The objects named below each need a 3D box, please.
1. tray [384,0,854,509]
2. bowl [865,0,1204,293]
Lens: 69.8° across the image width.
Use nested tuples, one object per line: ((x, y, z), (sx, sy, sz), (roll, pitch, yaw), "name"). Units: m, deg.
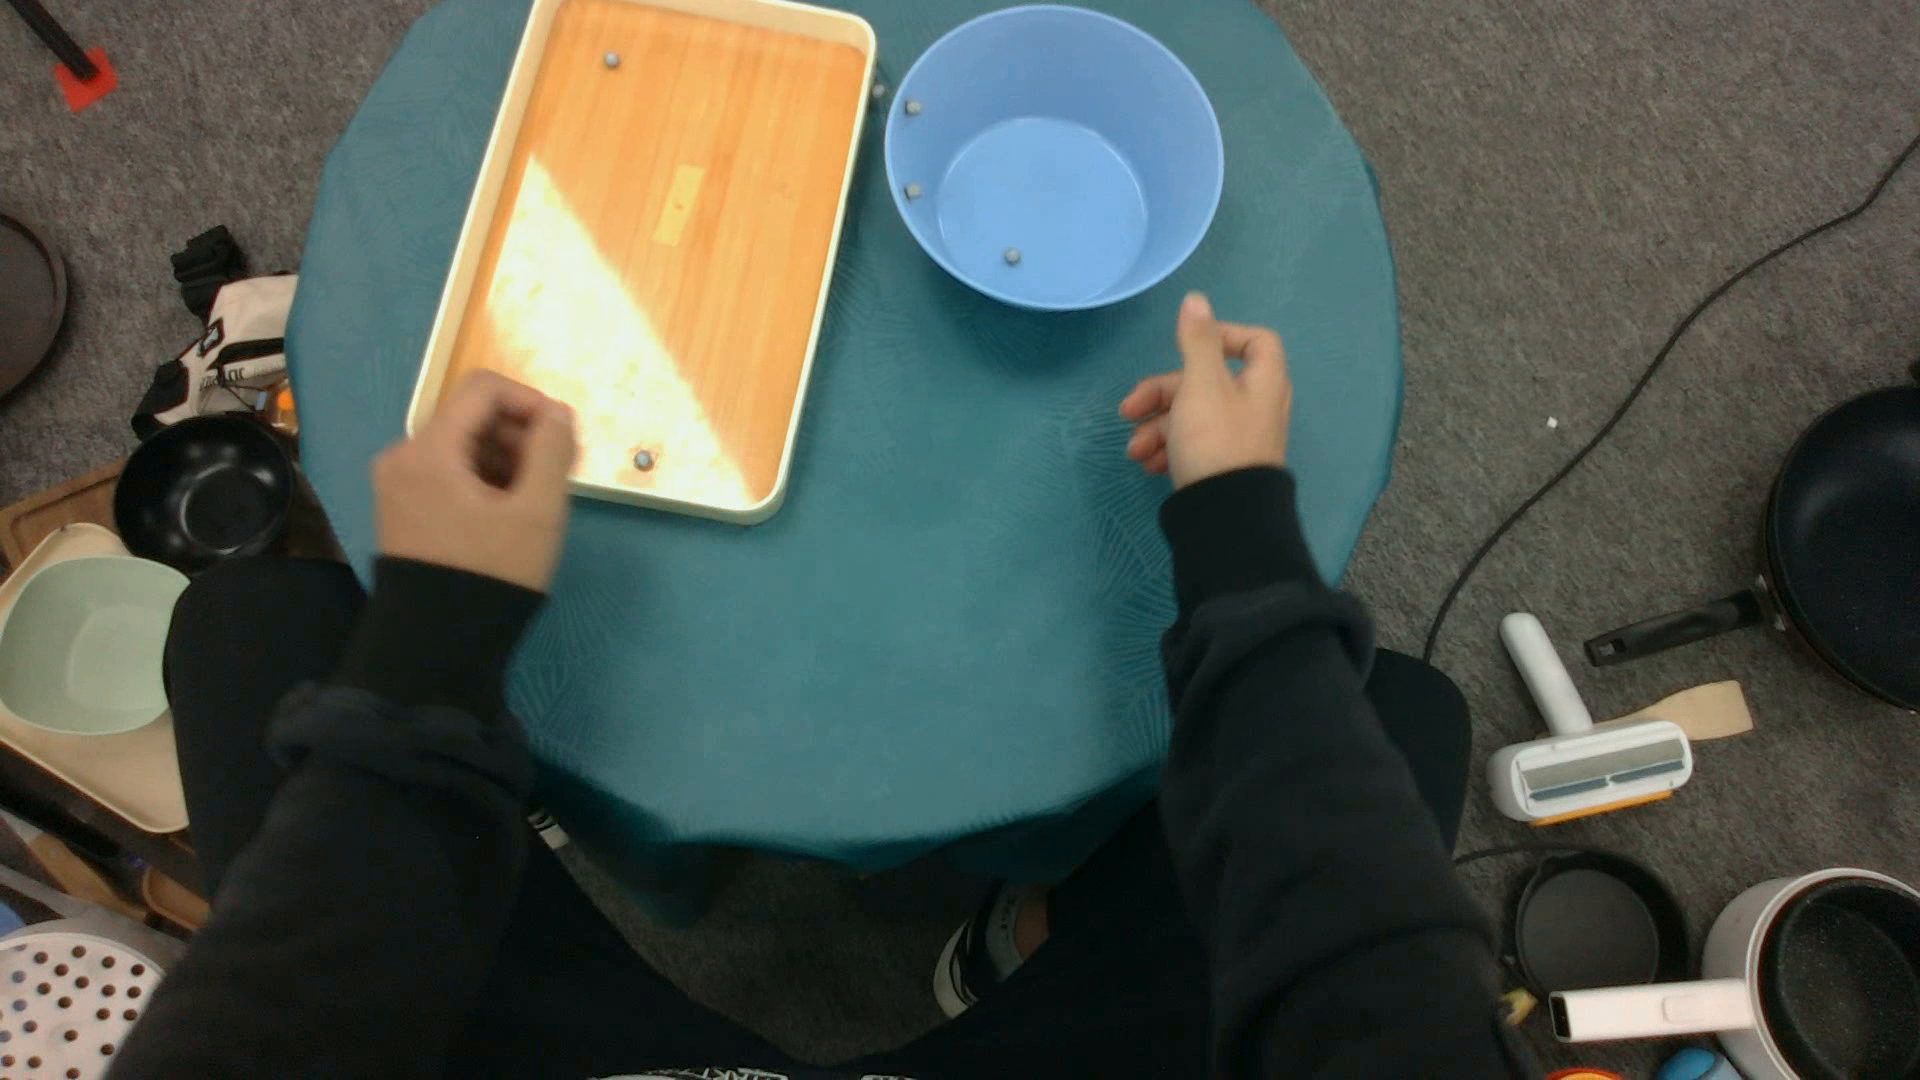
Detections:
((-0.174, -0.173, 0.737), (0.191, 0.027, 0.301), (10, 73, -2), "tray")
((0.037, -0.200, 0.740), (0.176, 0.070, 0.176), (1, 73, -3), "bowl")
